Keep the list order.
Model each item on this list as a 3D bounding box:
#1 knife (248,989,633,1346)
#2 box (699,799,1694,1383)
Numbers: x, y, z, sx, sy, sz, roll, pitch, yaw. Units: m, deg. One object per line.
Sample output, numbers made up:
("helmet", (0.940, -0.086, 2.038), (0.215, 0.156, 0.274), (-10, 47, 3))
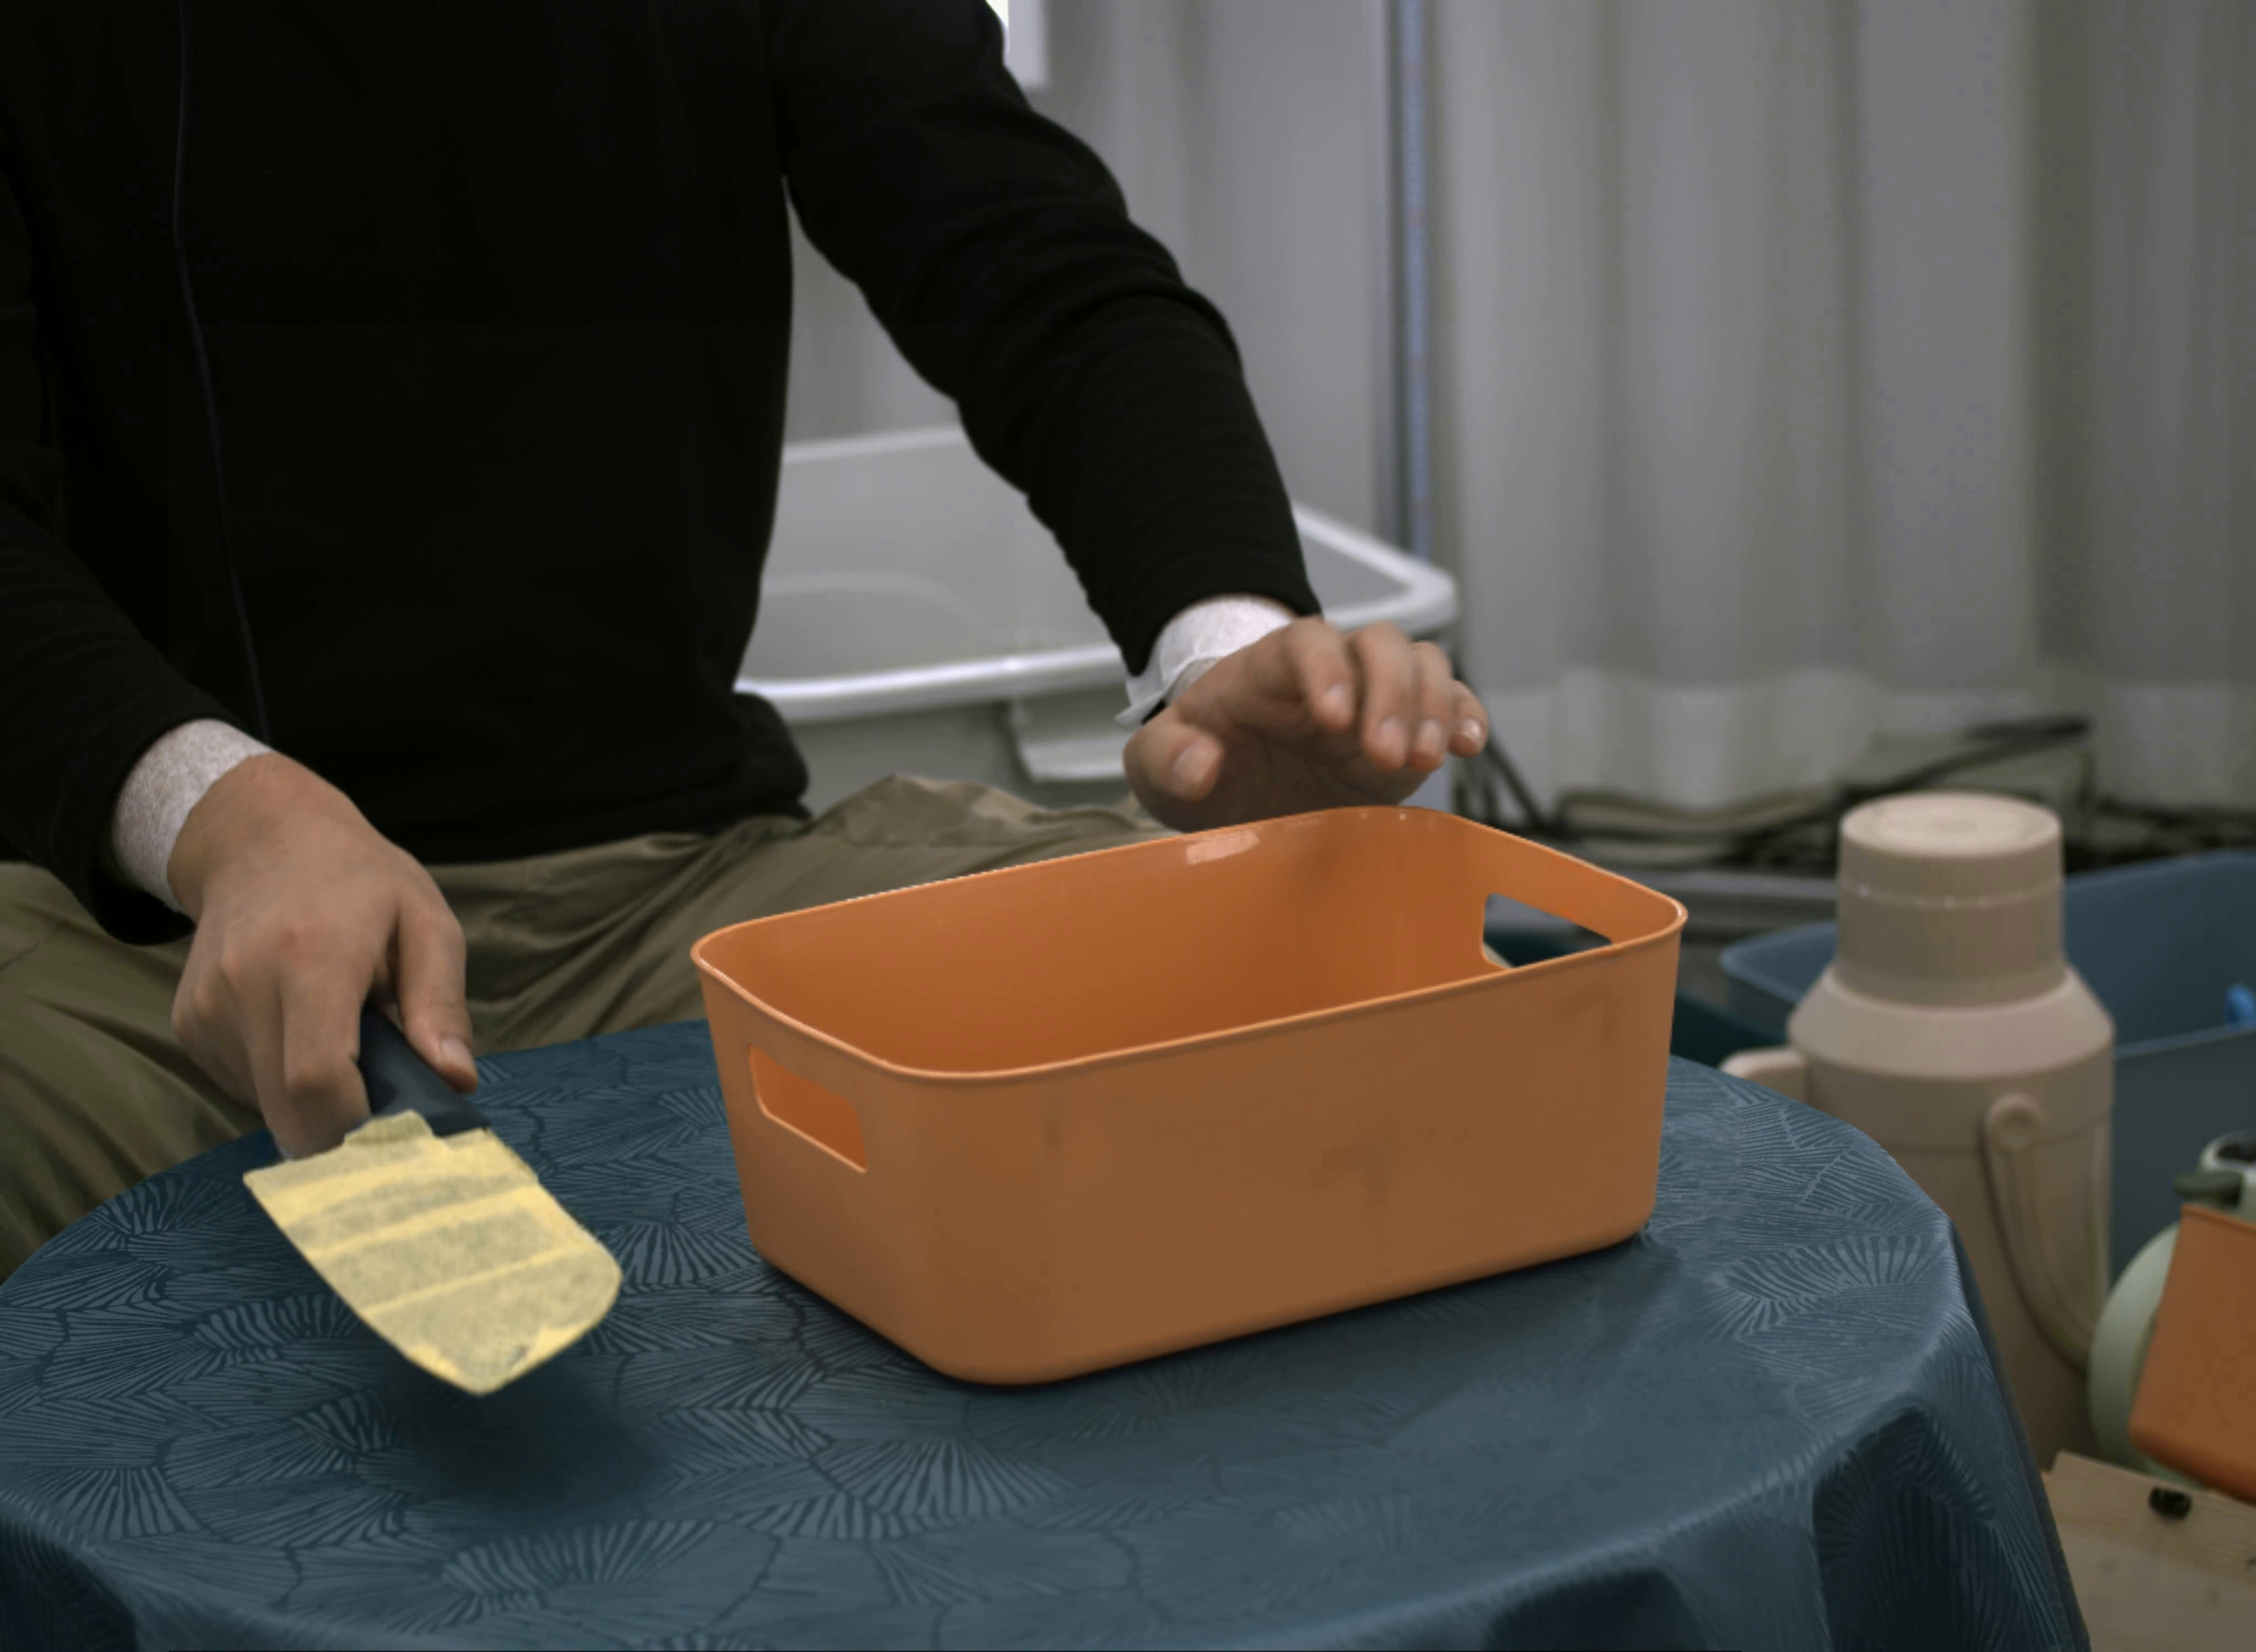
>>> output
("knife", (-0.213, 0.100, 1.596), (0.080, 0.027, 0.292), (-10, 19, -20))
("box", (0.021, 0.077, 1.651), (0.272, 0.102, 0.201), (-11, 17, -27))
